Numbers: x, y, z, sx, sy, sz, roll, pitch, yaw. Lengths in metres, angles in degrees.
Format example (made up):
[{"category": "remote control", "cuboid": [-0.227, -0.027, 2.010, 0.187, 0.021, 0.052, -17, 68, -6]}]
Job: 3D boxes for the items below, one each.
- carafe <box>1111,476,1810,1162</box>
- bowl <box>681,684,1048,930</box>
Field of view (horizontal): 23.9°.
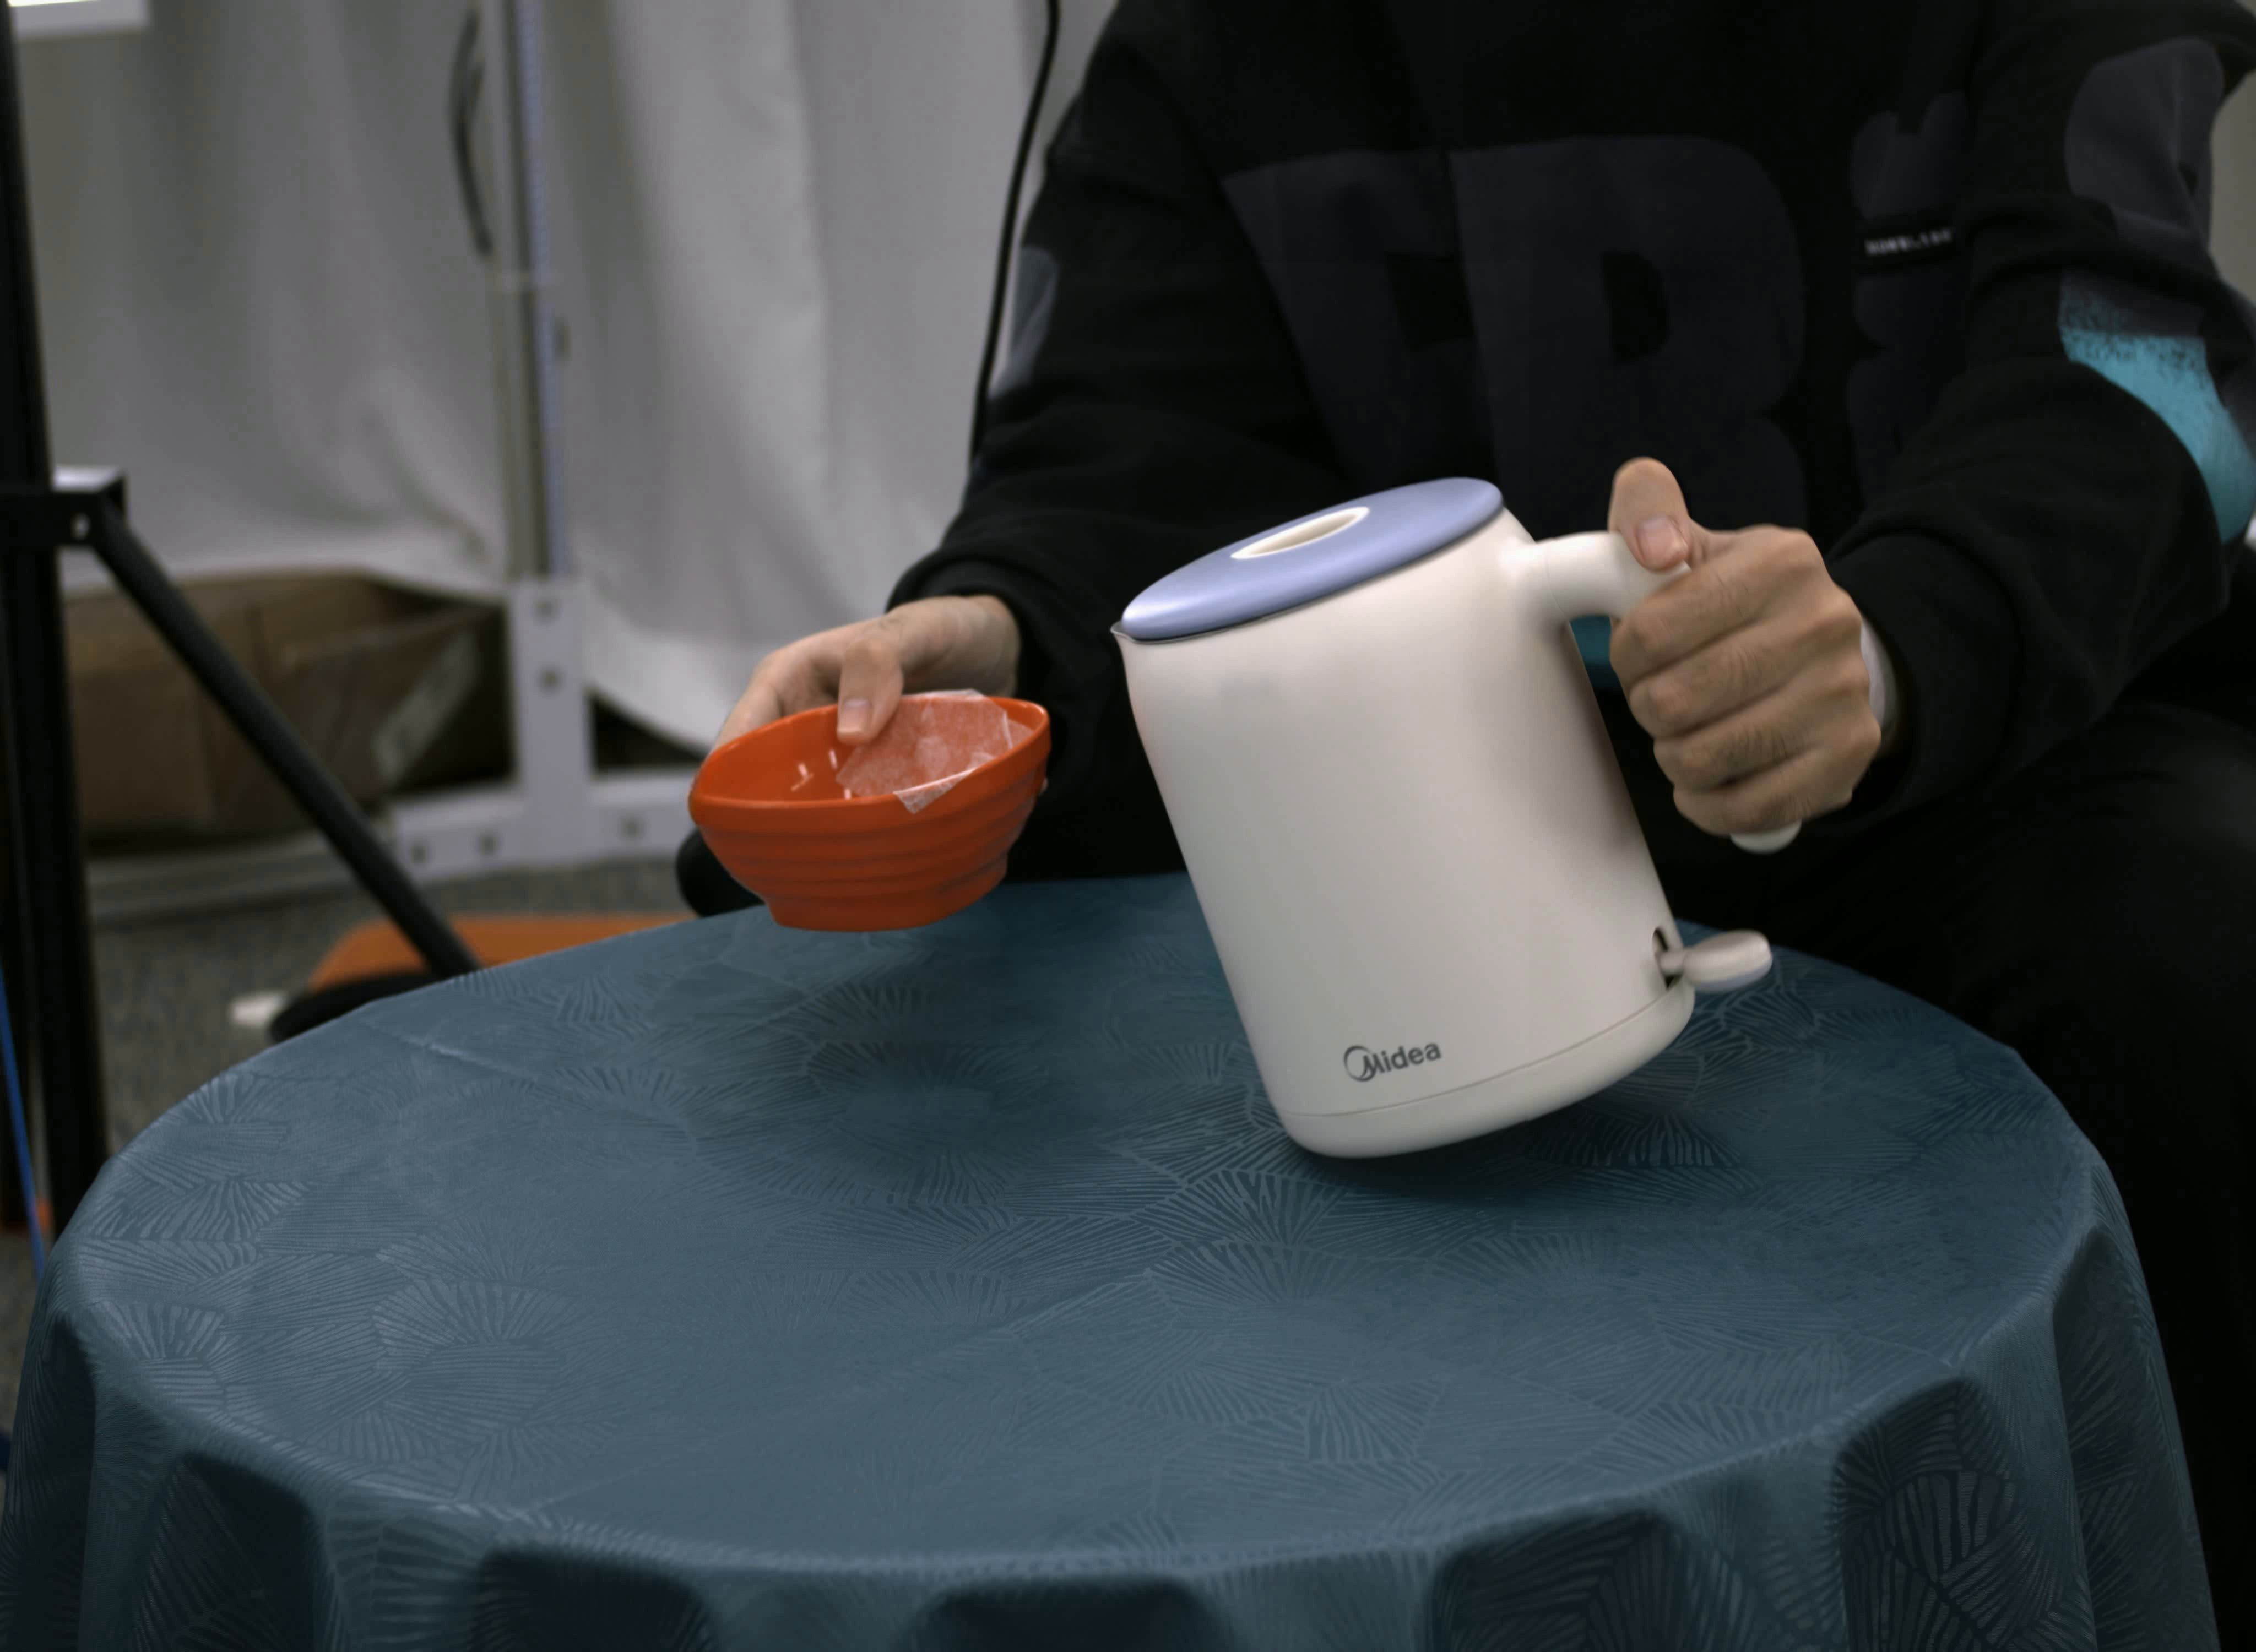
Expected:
[{"category": "carafe", "cuboid": [0.103, -0.007, 1.559, 0.193, 0.182, 0.131, -12, 13, 25]}, {"category": "bowl", "cuboid": [-0.078, -0.003, 1.676, 0.118, 0.051, 0.119, -12, 18, 2]}]
